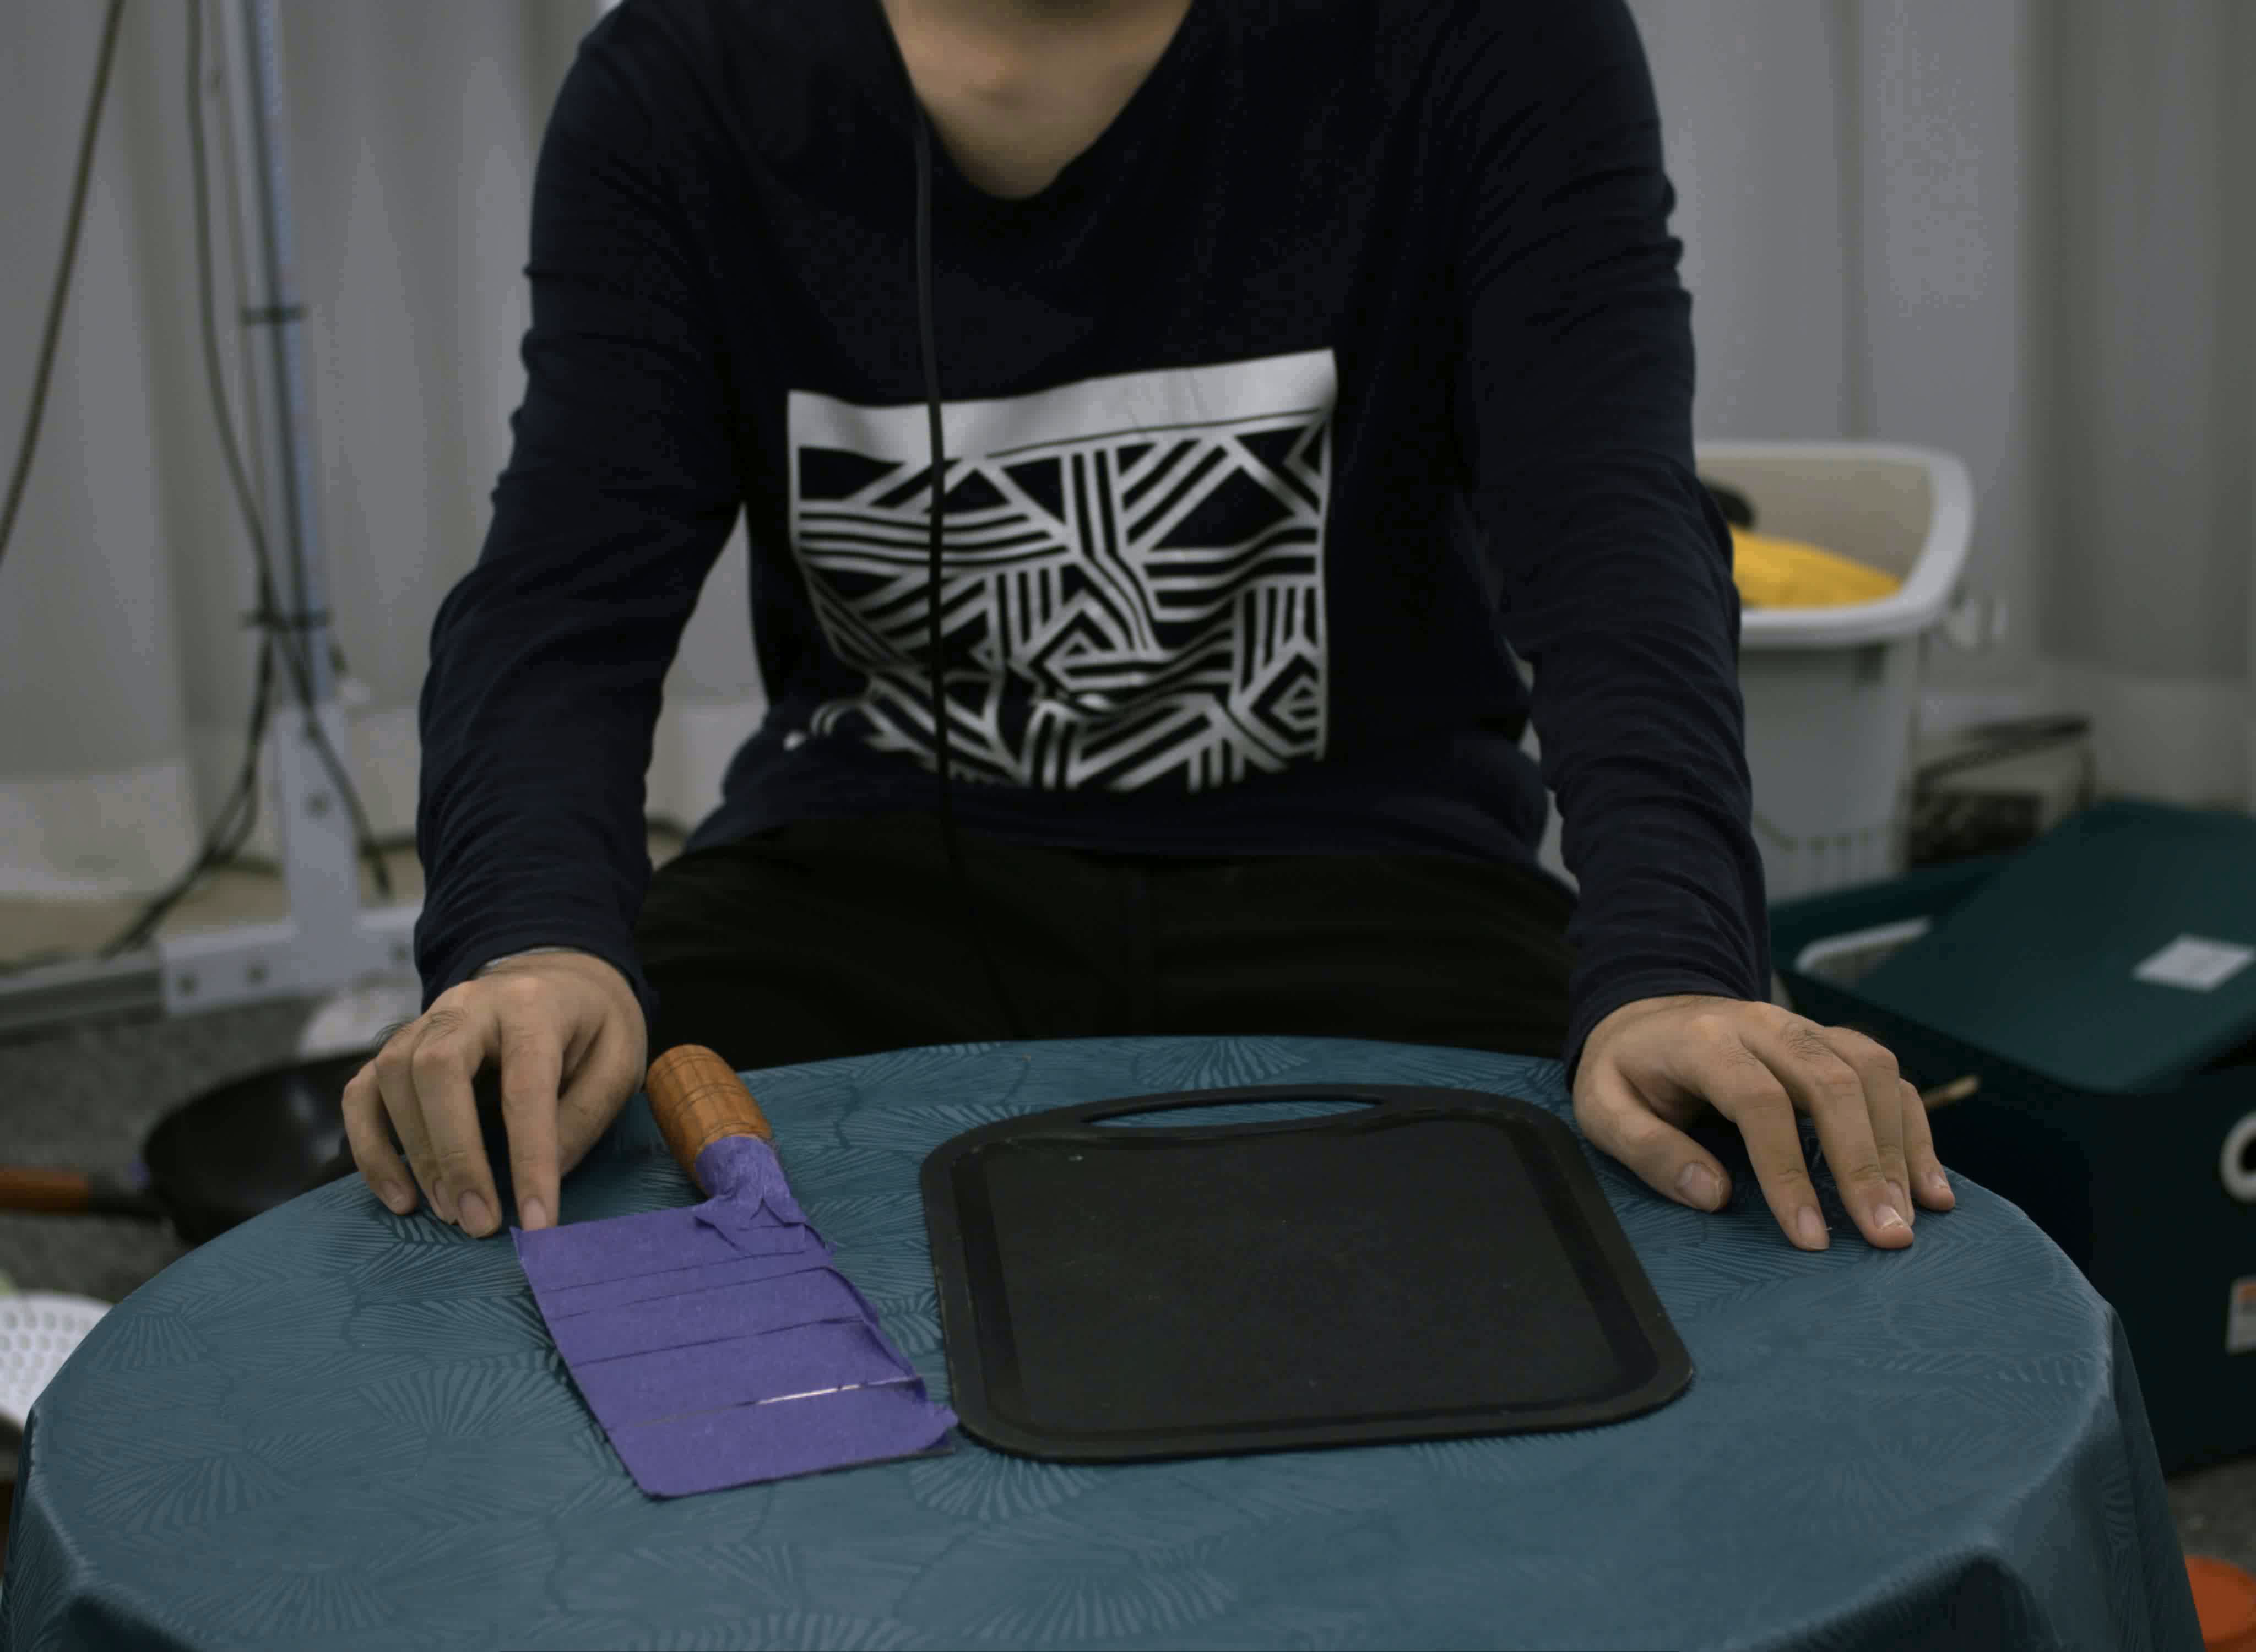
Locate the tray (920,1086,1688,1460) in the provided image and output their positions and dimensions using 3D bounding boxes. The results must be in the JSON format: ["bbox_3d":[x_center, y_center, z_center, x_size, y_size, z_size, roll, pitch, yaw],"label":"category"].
[{"bbox_3d":[0.045,0.127,1.649,0.210,0.010,0.328,-3,15,-3],"label":"tray"}]

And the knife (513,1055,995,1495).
[{"bbox_3d":[-0.131,0.130,1.633,0.103,0.032,0.318,-7,16,-16],"label":"knife"}]
